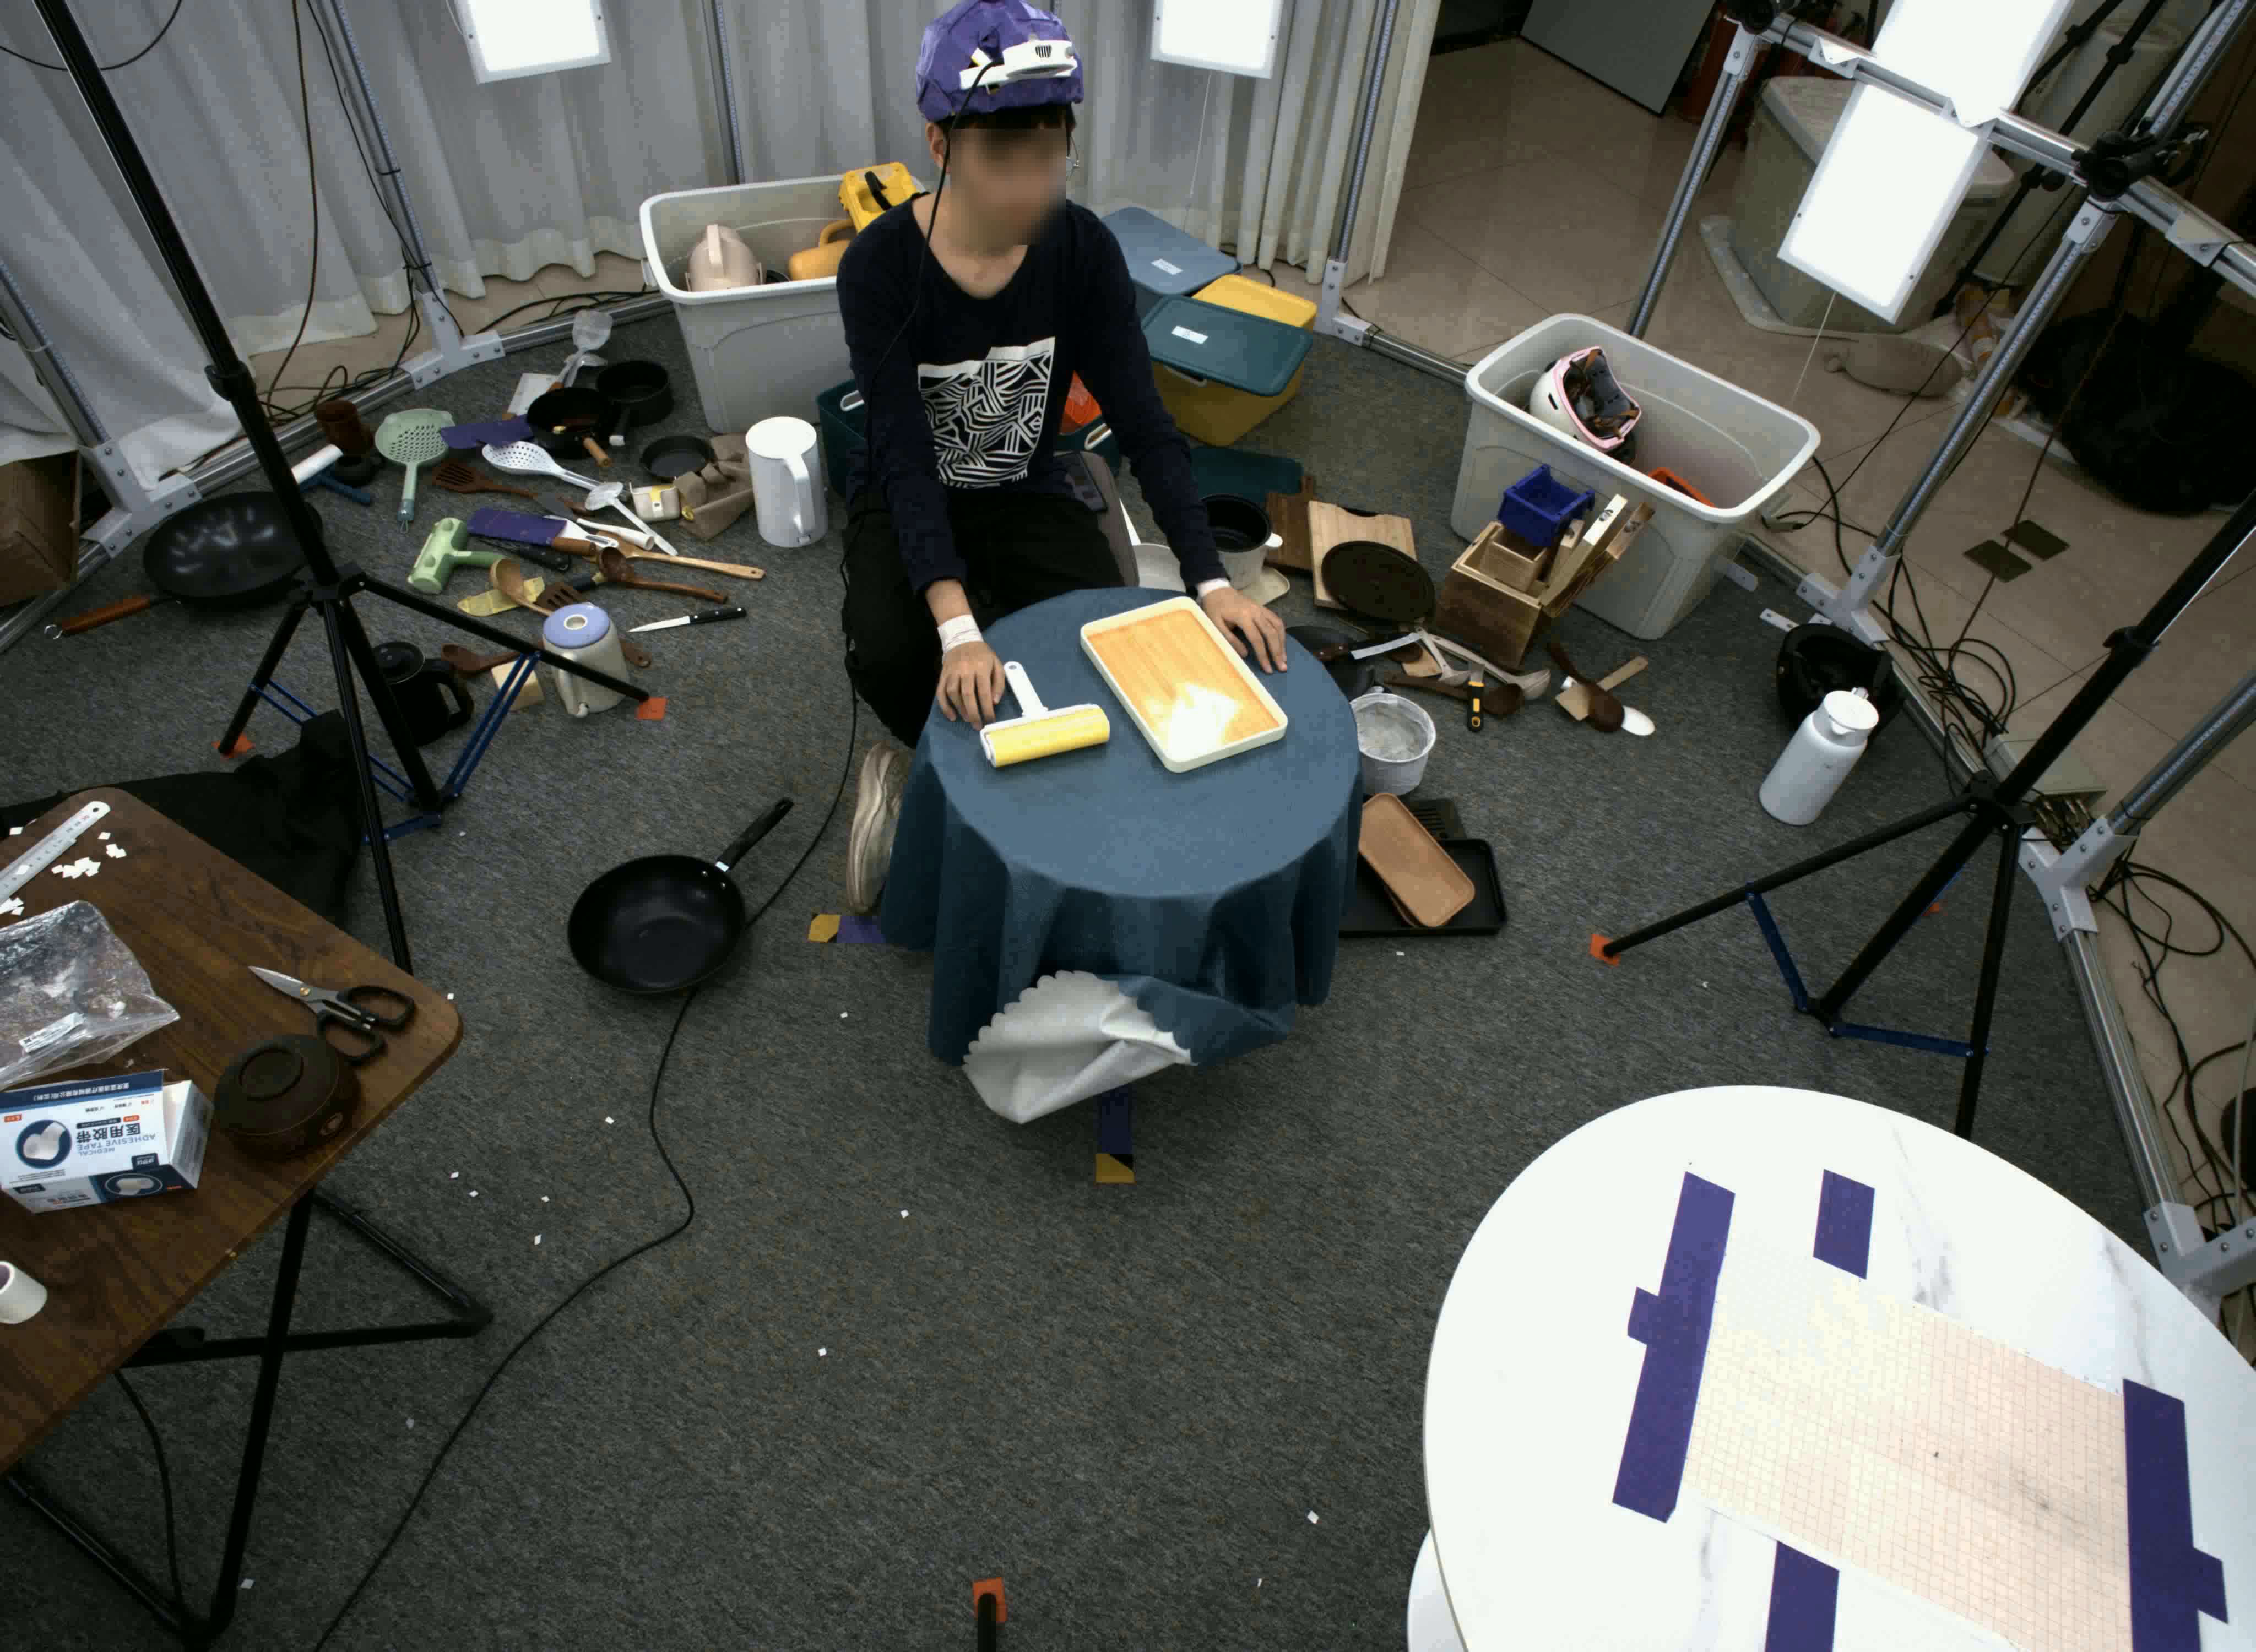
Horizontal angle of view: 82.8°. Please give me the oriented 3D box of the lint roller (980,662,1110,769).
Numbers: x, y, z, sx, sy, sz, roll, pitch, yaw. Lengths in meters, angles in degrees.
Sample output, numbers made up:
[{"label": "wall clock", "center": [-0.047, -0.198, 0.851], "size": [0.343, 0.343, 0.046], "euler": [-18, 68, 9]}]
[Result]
[{"label": "lint roller", "center": [-0.135, -0.171, 1.776], "size": [0.174, 0.050, 0.196], "euler": [-14, 55, -17]}]

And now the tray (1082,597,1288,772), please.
[{"label": "tray", "center": [0.076, -0.209, 1.837], "size": [0.192, 0.027, 0.307], "euler": [-18, 53, -19]}]
